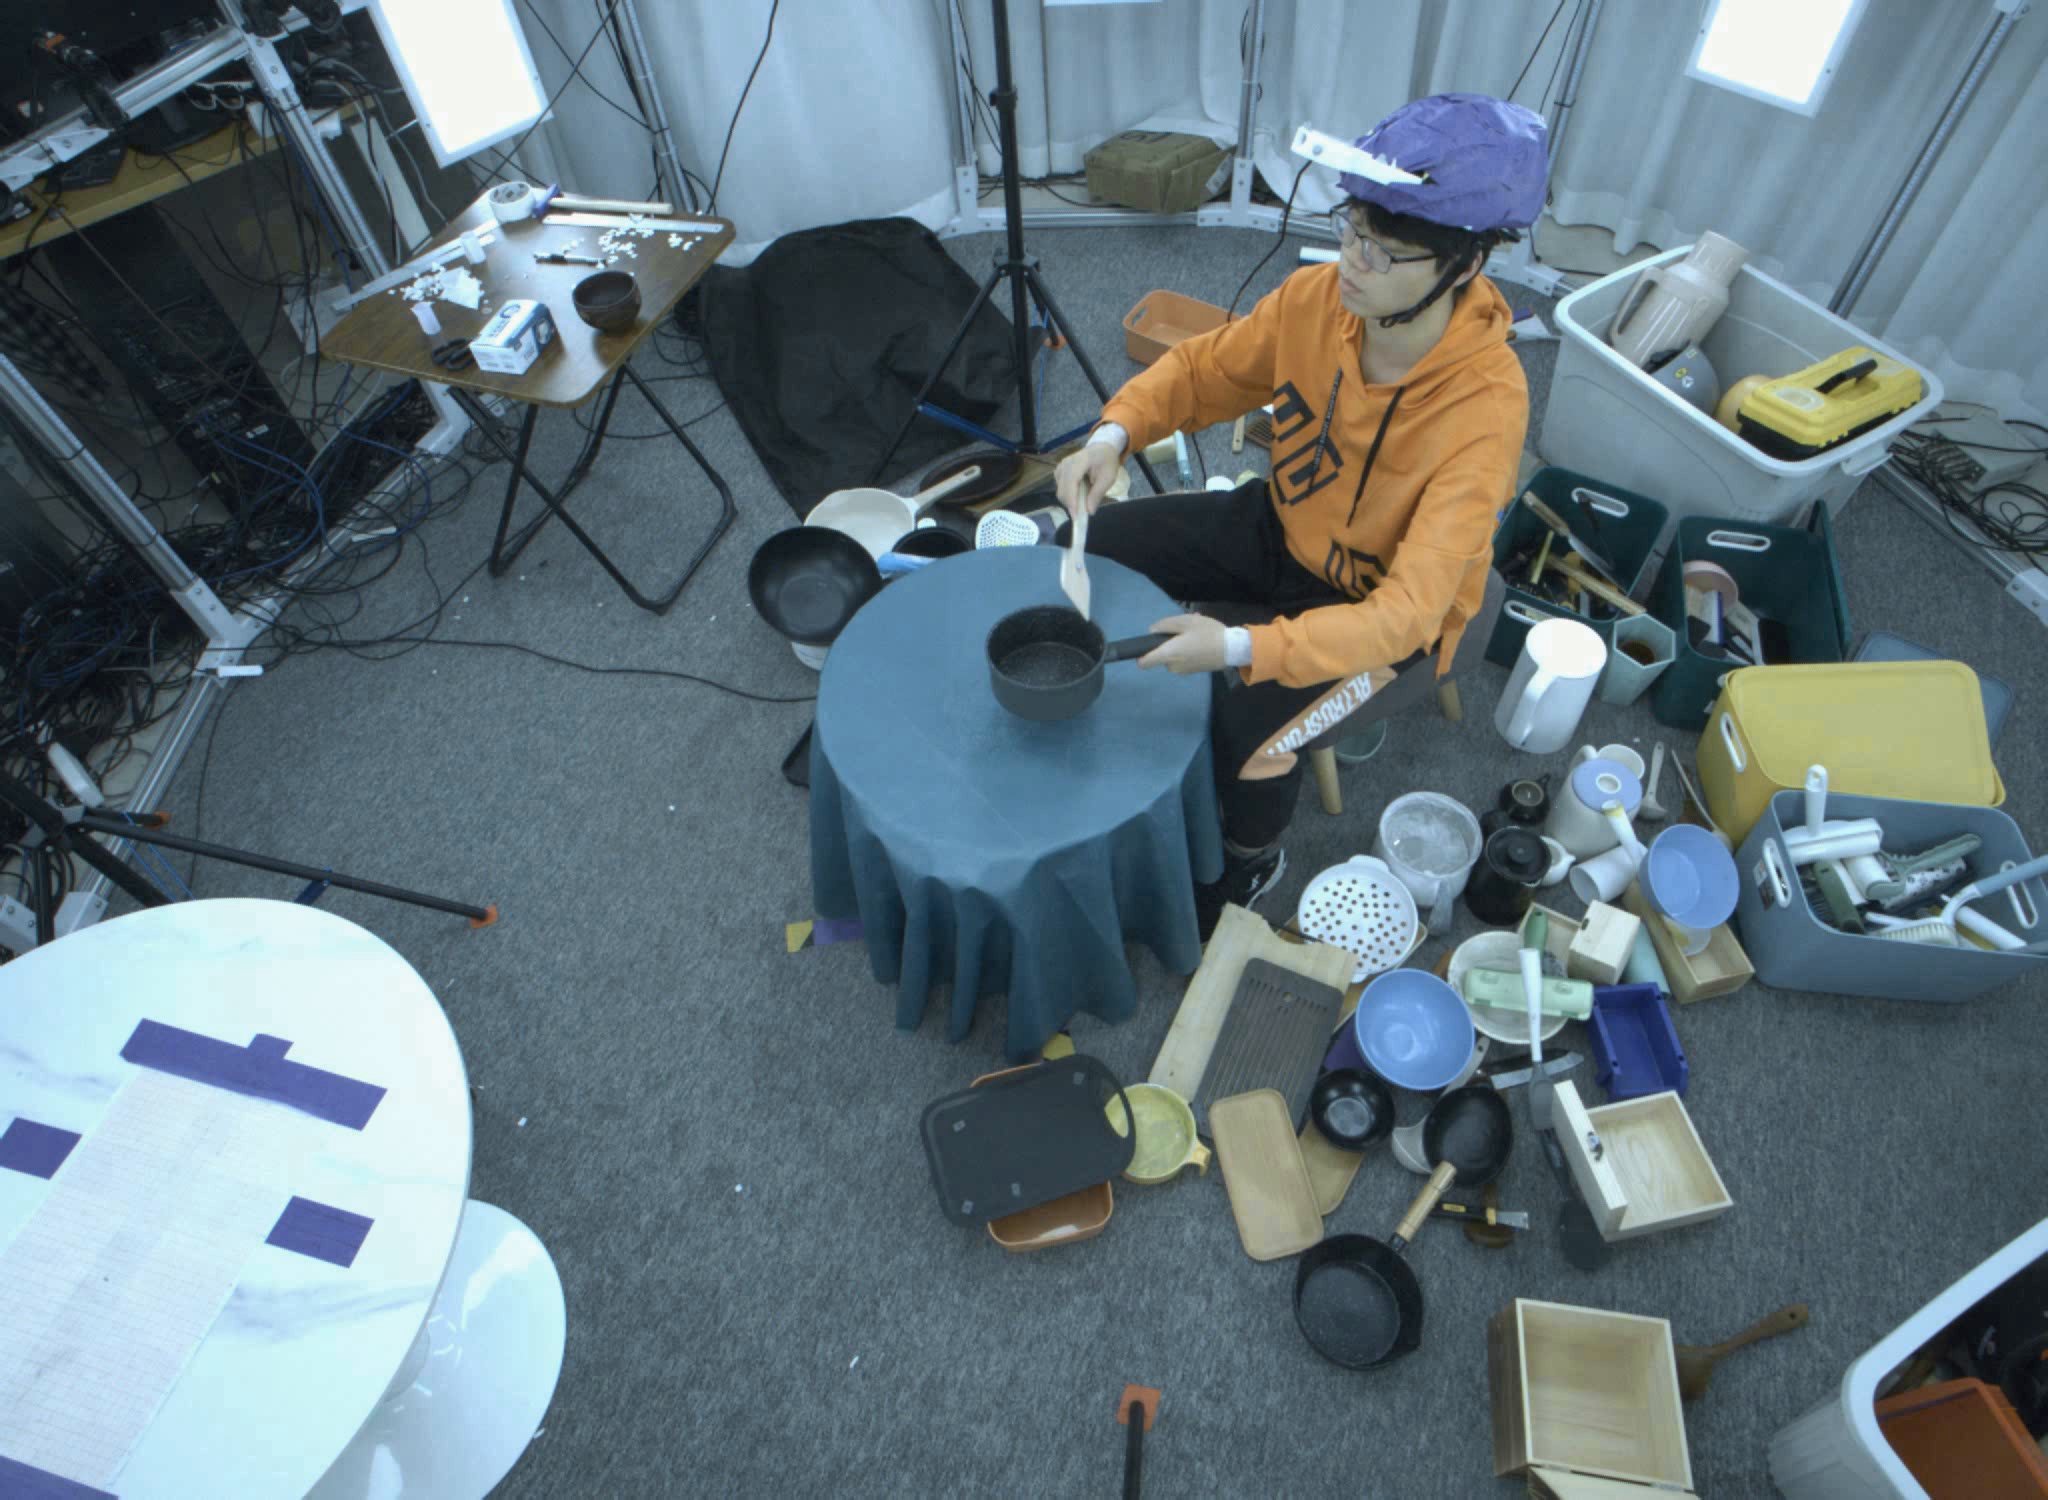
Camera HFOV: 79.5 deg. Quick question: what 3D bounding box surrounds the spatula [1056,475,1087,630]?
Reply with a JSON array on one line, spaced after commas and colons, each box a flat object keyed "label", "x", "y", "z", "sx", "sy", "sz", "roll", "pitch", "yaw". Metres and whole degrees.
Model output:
[{"label": "spatula", "x": 0.072, "y": -0.295, "z": 1.751, "sx": 0.010, "sy": 0.074, "sz": 0.290, "roll": -17, "pitch": 47, "yaw": 26}]

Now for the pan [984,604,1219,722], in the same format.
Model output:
[{"label": "pan", "x": 0.111, "y": -0.128, "z": 1.742, "sx": 0.329, "sy": 0.087, "sz": 0.170, "roll": -3, "pitch": 50, "yaw": 0}]
